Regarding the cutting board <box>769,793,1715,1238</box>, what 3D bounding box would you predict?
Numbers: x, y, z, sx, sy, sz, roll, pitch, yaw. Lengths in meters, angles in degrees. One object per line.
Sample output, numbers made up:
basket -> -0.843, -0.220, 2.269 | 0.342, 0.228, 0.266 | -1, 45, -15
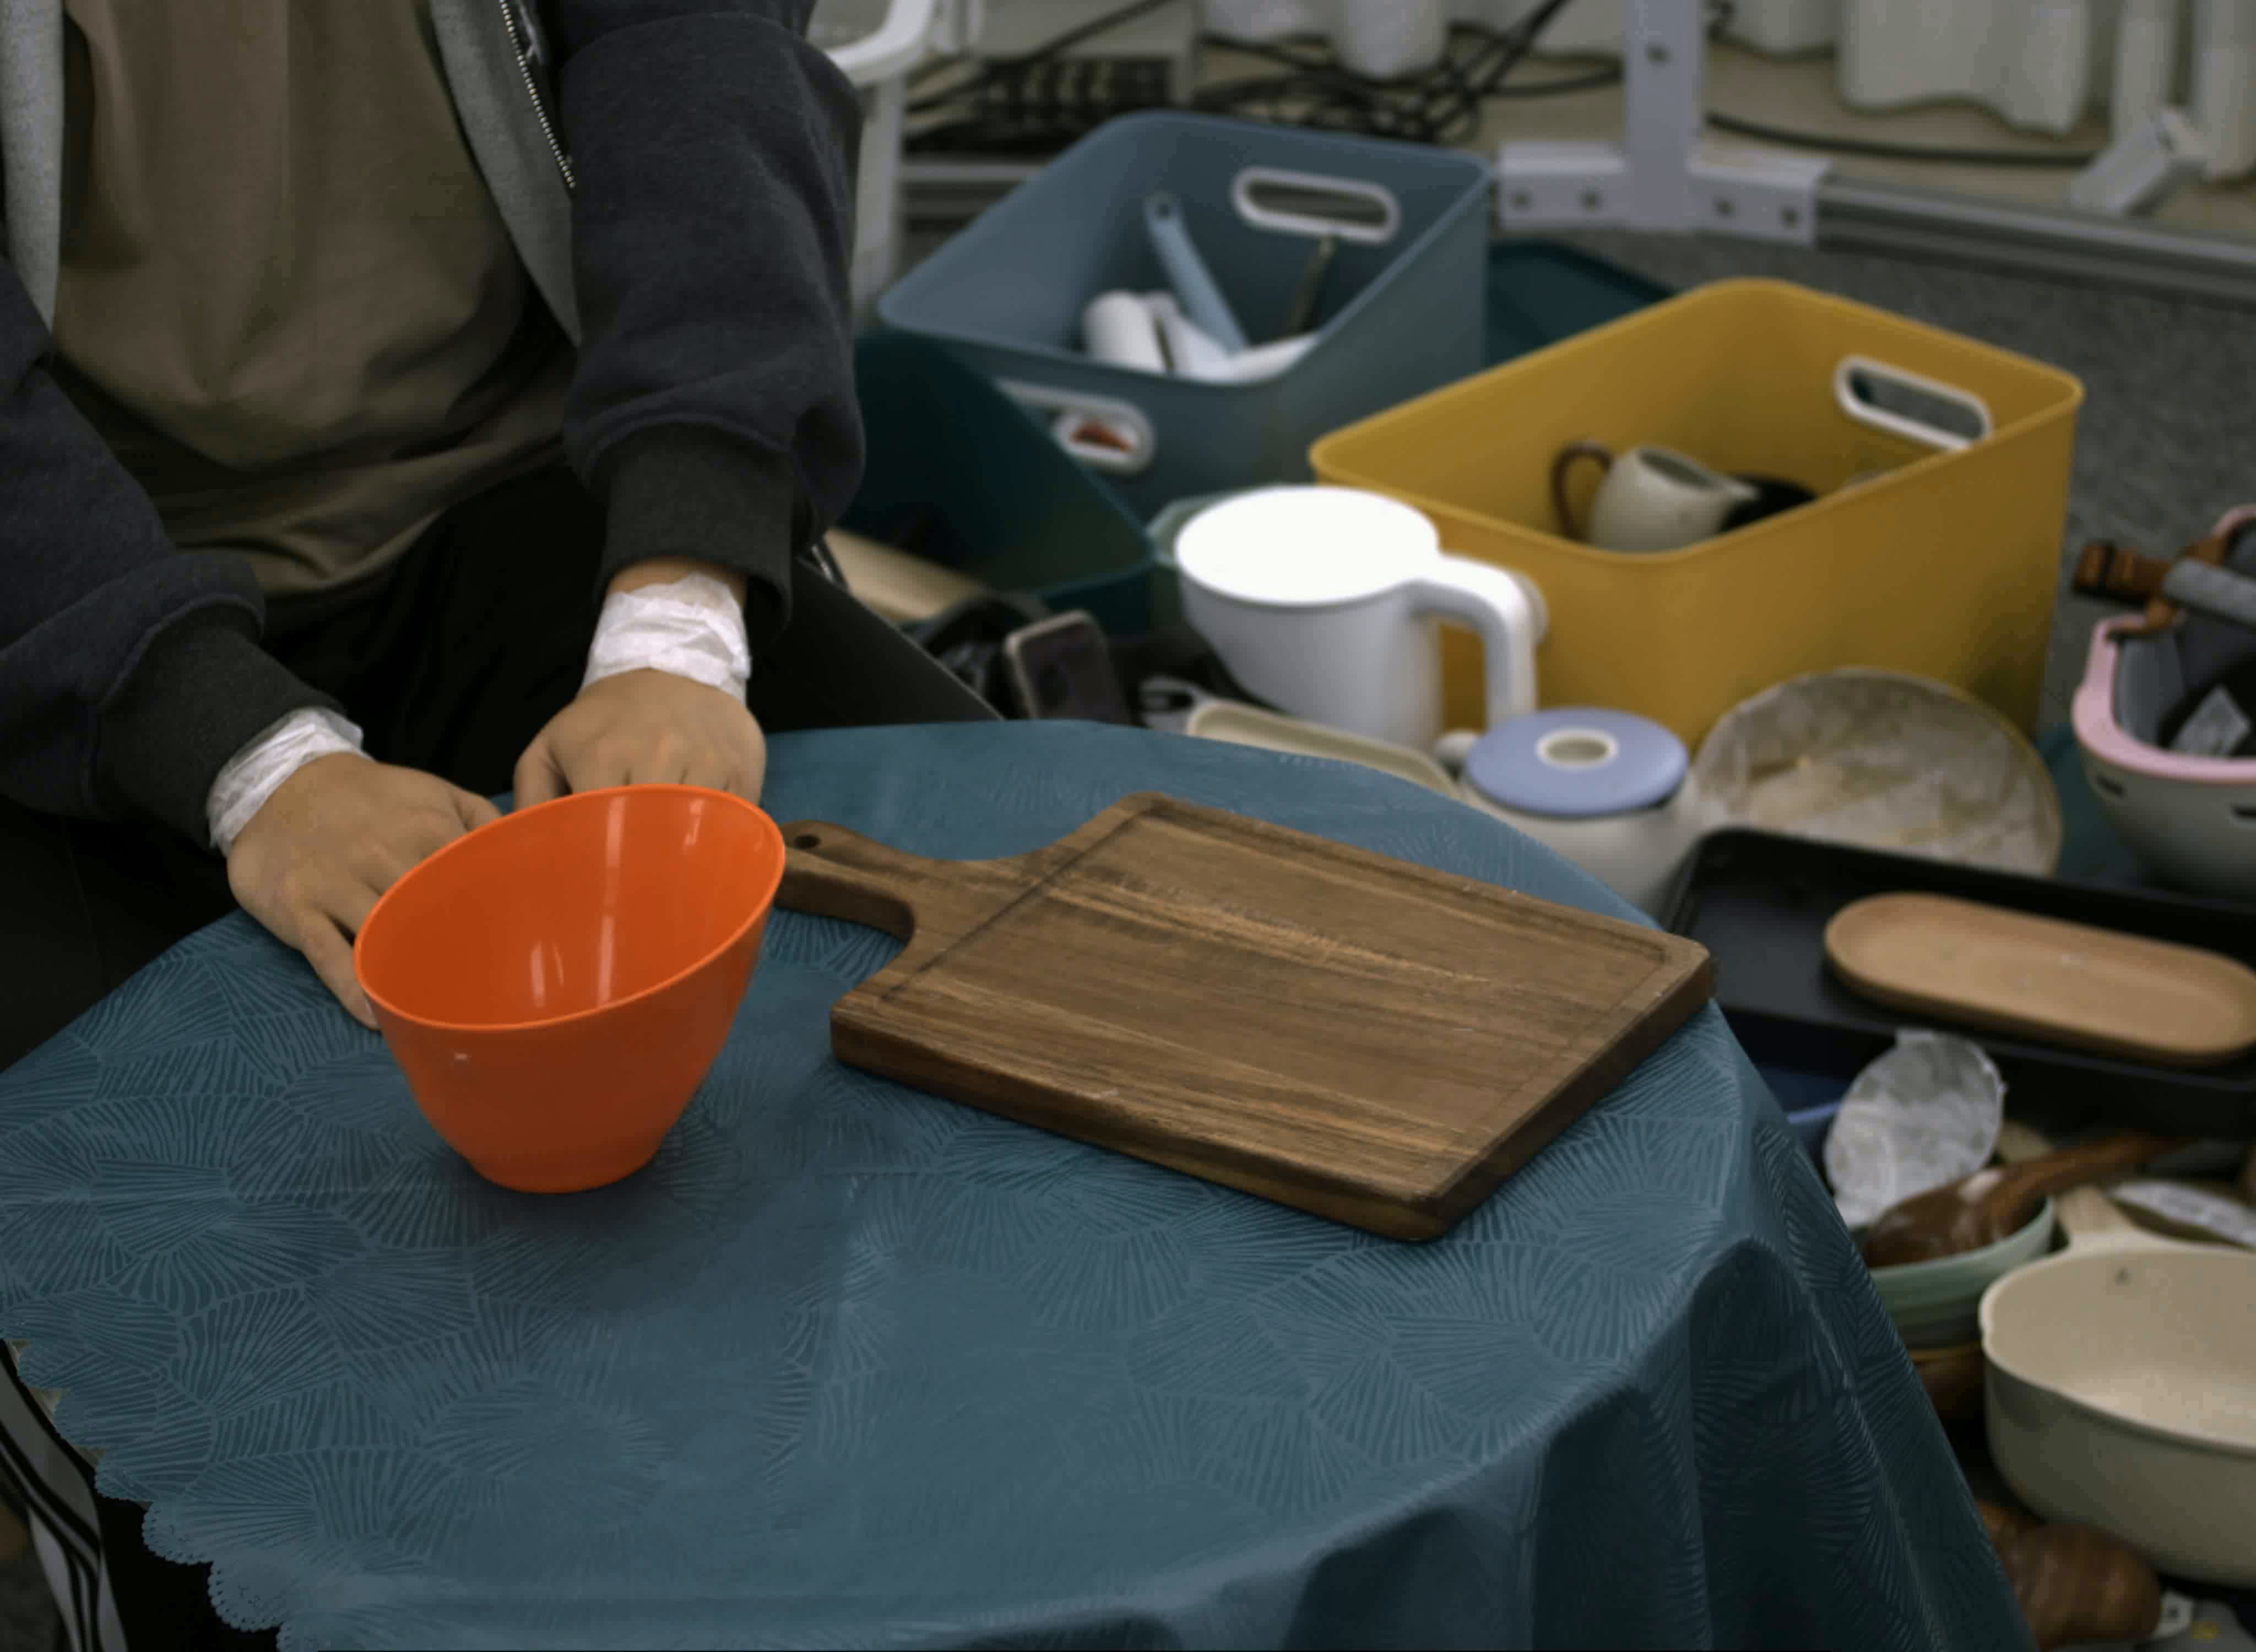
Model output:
cutting board -> 0.010, 0.050, 1.977 | 0.350, 0.023, 0.204 | 15, 32, 31

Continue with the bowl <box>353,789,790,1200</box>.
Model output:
bowl -> -0.183, 0.063, 1.885 | 0.147, 0.103, 0.150 | -2, 27, 1
